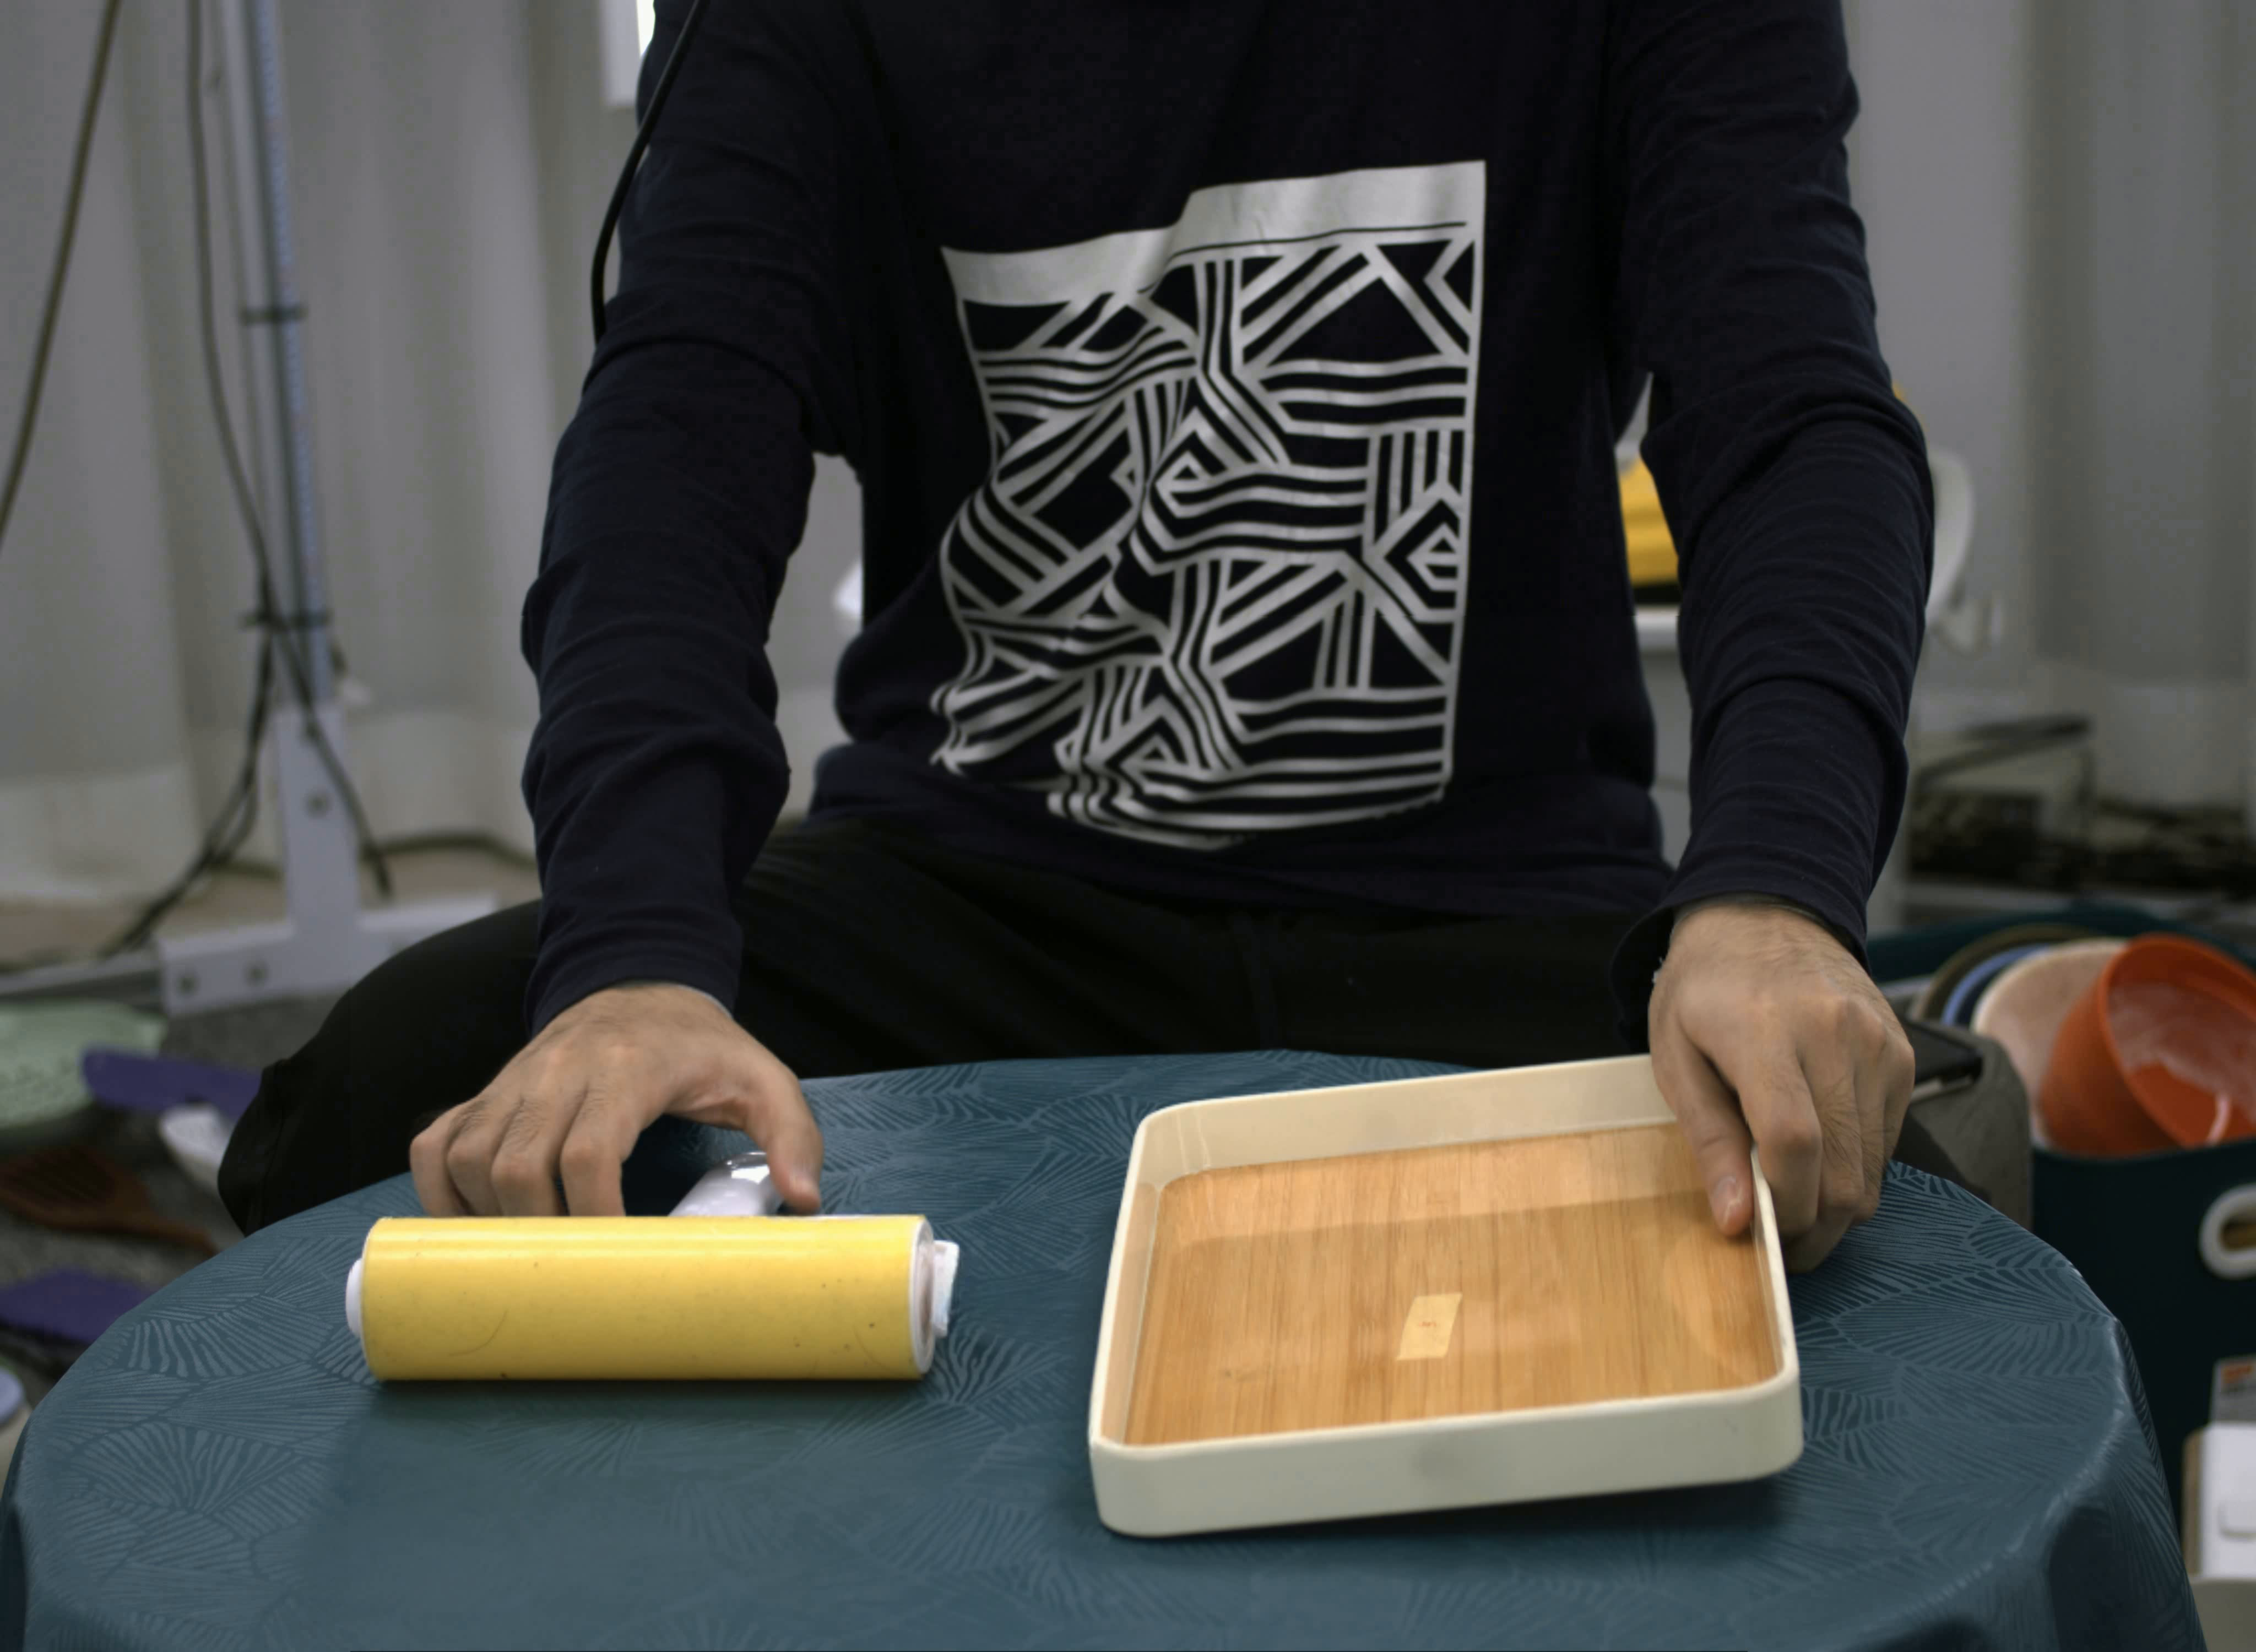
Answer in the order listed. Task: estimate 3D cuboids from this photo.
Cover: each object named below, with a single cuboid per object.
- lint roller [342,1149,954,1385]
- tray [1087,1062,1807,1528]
[{"bbox_3d":[-0.132,0.117,1.639,0.174,0.051,0.193,0,18,6],"label":"lint roller"},{"bbox_3d":[0.091,0.130,1.566,0.191,0.027,0.302,-5,14,5],"label":"tray"}]
